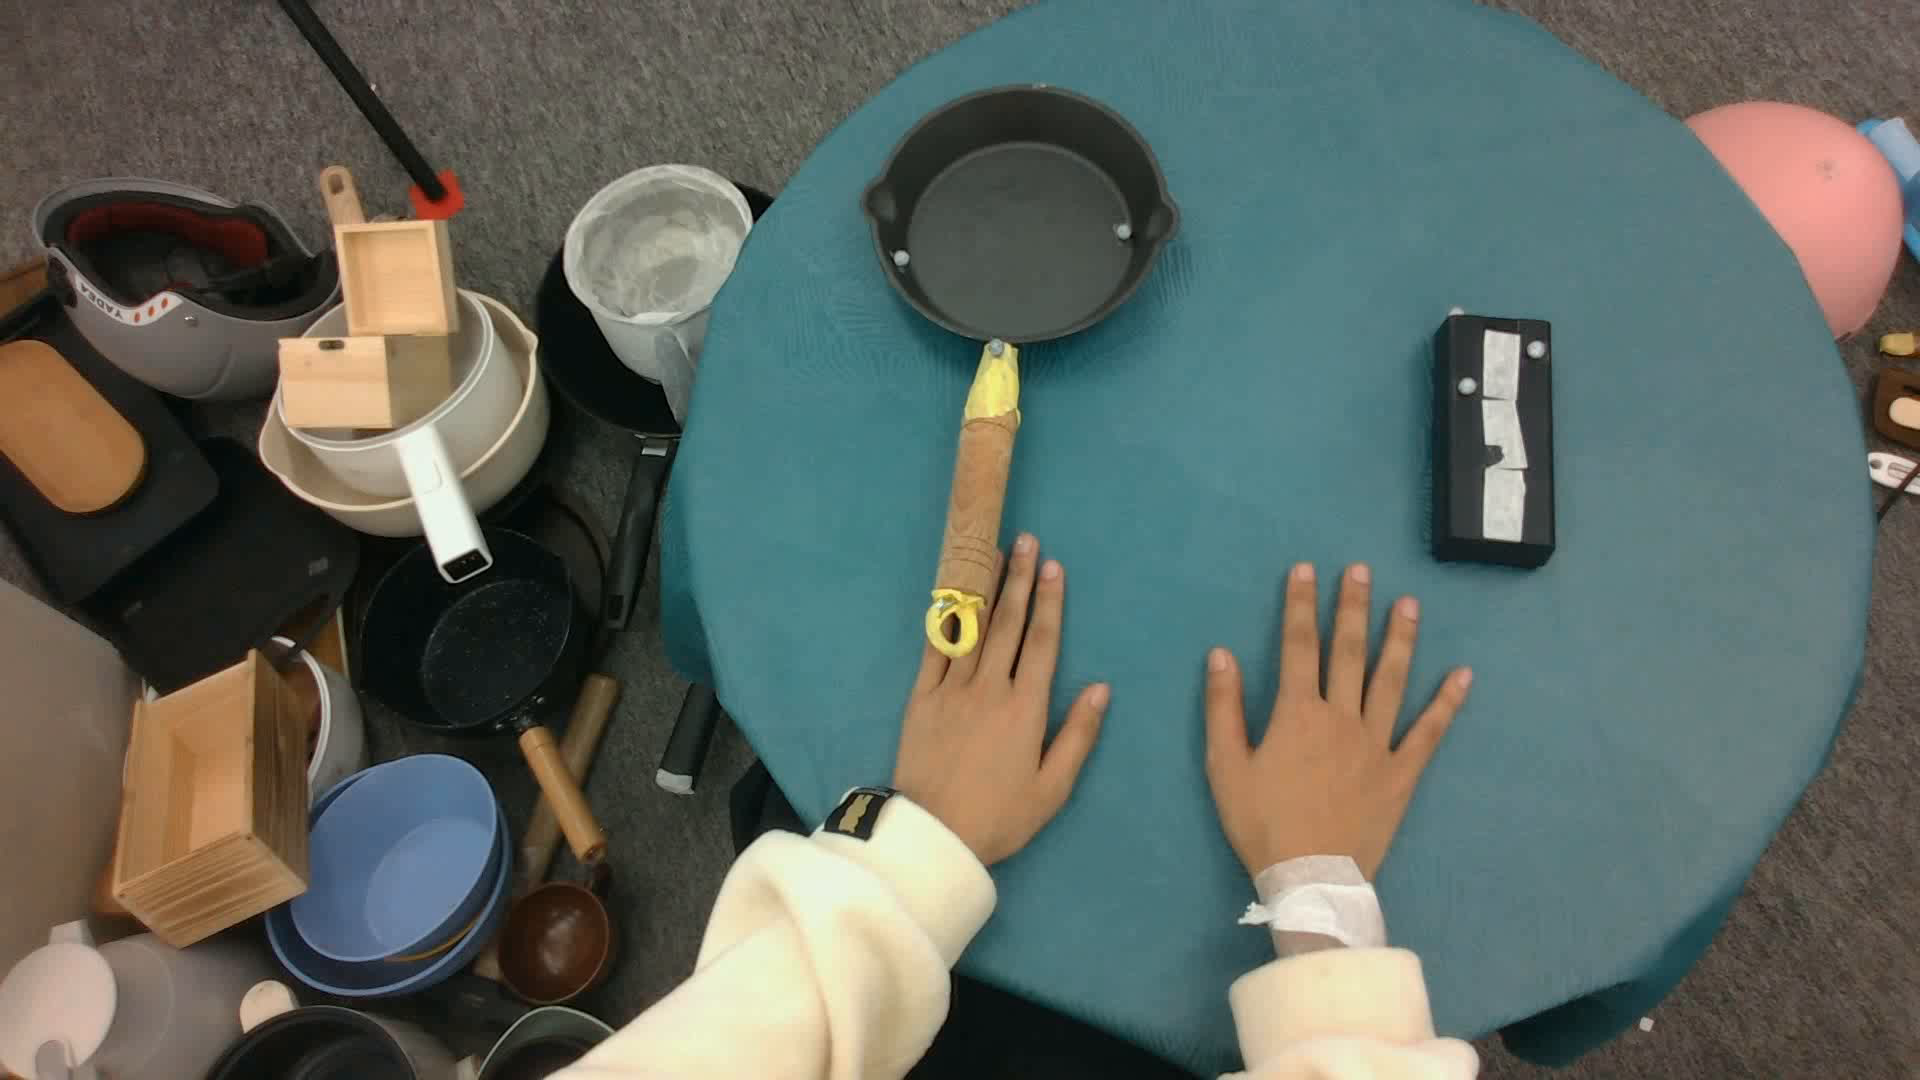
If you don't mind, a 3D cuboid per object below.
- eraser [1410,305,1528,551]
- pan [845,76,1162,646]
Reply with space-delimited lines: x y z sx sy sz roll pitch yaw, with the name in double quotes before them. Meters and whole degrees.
"eraser" 0.254 -0.057 0.690 0.053 0.030 0.126 6 71 6
"pan" 0.010 -0.099 0.705 0.169 0.049 0.325 8 70 5
